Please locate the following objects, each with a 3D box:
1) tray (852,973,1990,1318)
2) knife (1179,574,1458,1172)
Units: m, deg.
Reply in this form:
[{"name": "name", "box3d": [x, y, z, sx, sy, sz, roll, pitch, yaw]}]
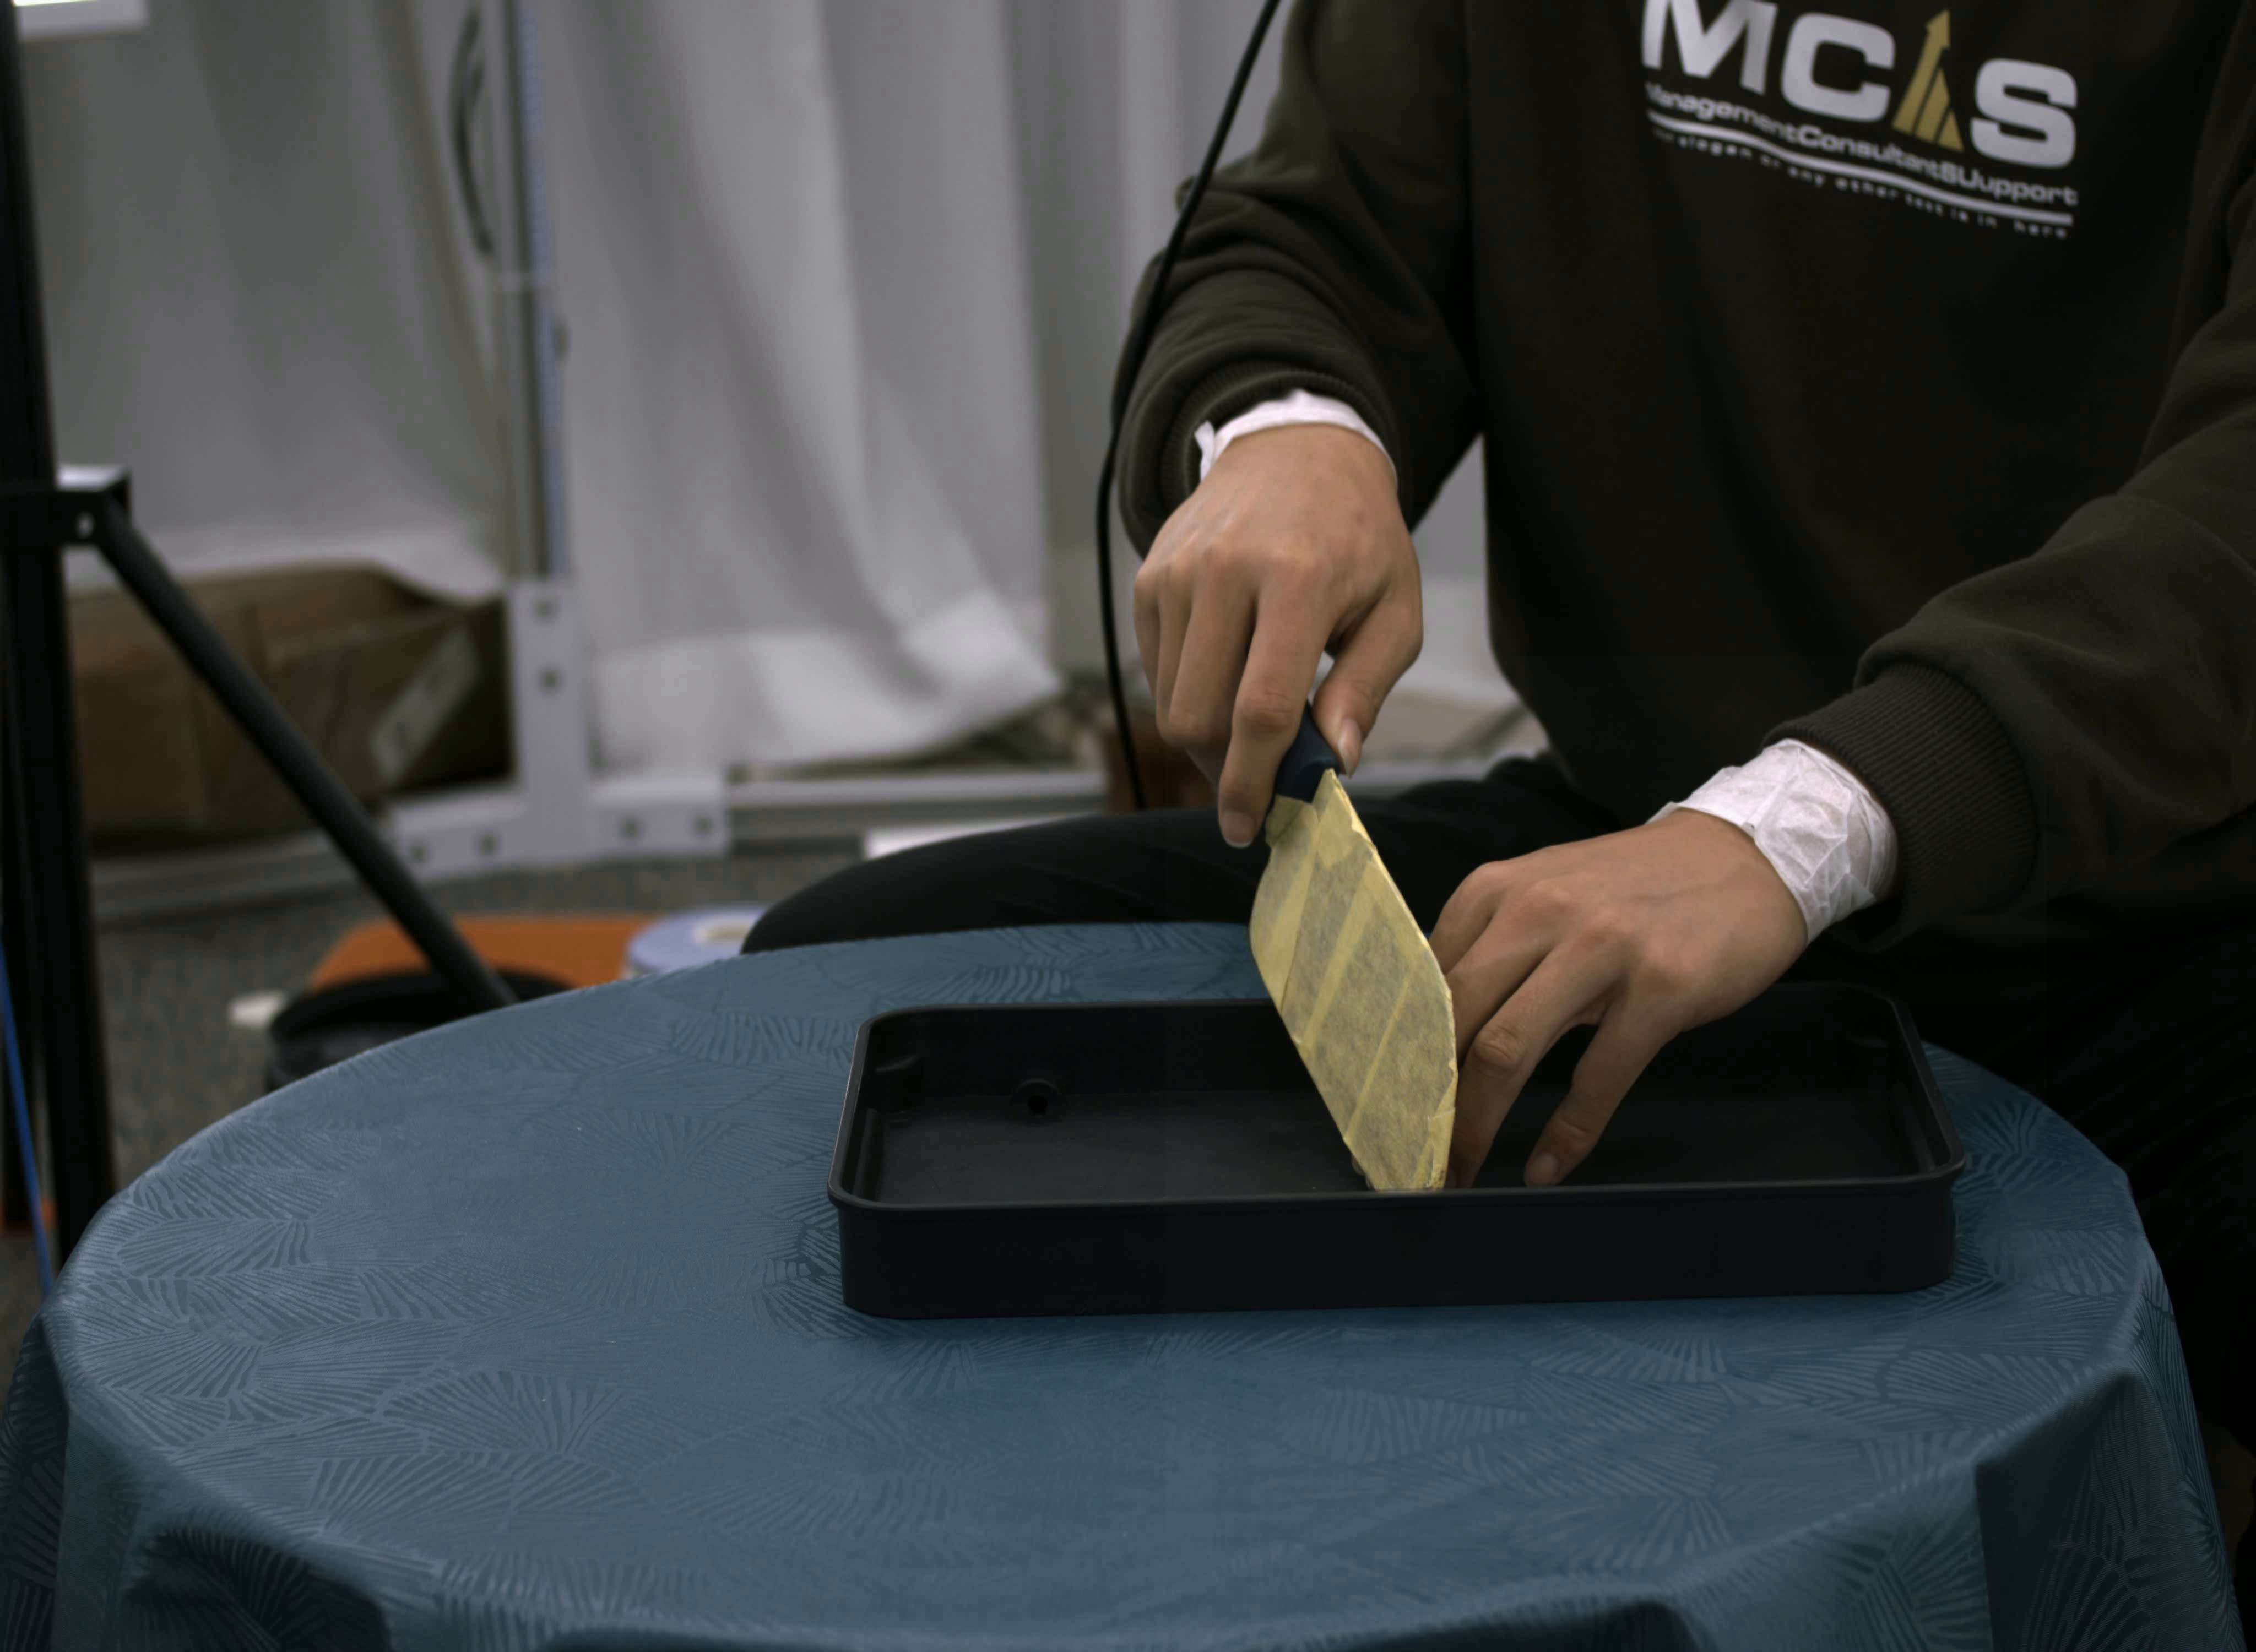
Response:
[{"name": "tray", "box3d": [0.081, 0.091, 1.540, 0.317, 0.037, 0.185, -2, 16, 1]}, {"name": "knife", "box3d": [0.054, 0.016, 1.604, 0.026, 0.081, 0.294, 11, 32, -22]}]
